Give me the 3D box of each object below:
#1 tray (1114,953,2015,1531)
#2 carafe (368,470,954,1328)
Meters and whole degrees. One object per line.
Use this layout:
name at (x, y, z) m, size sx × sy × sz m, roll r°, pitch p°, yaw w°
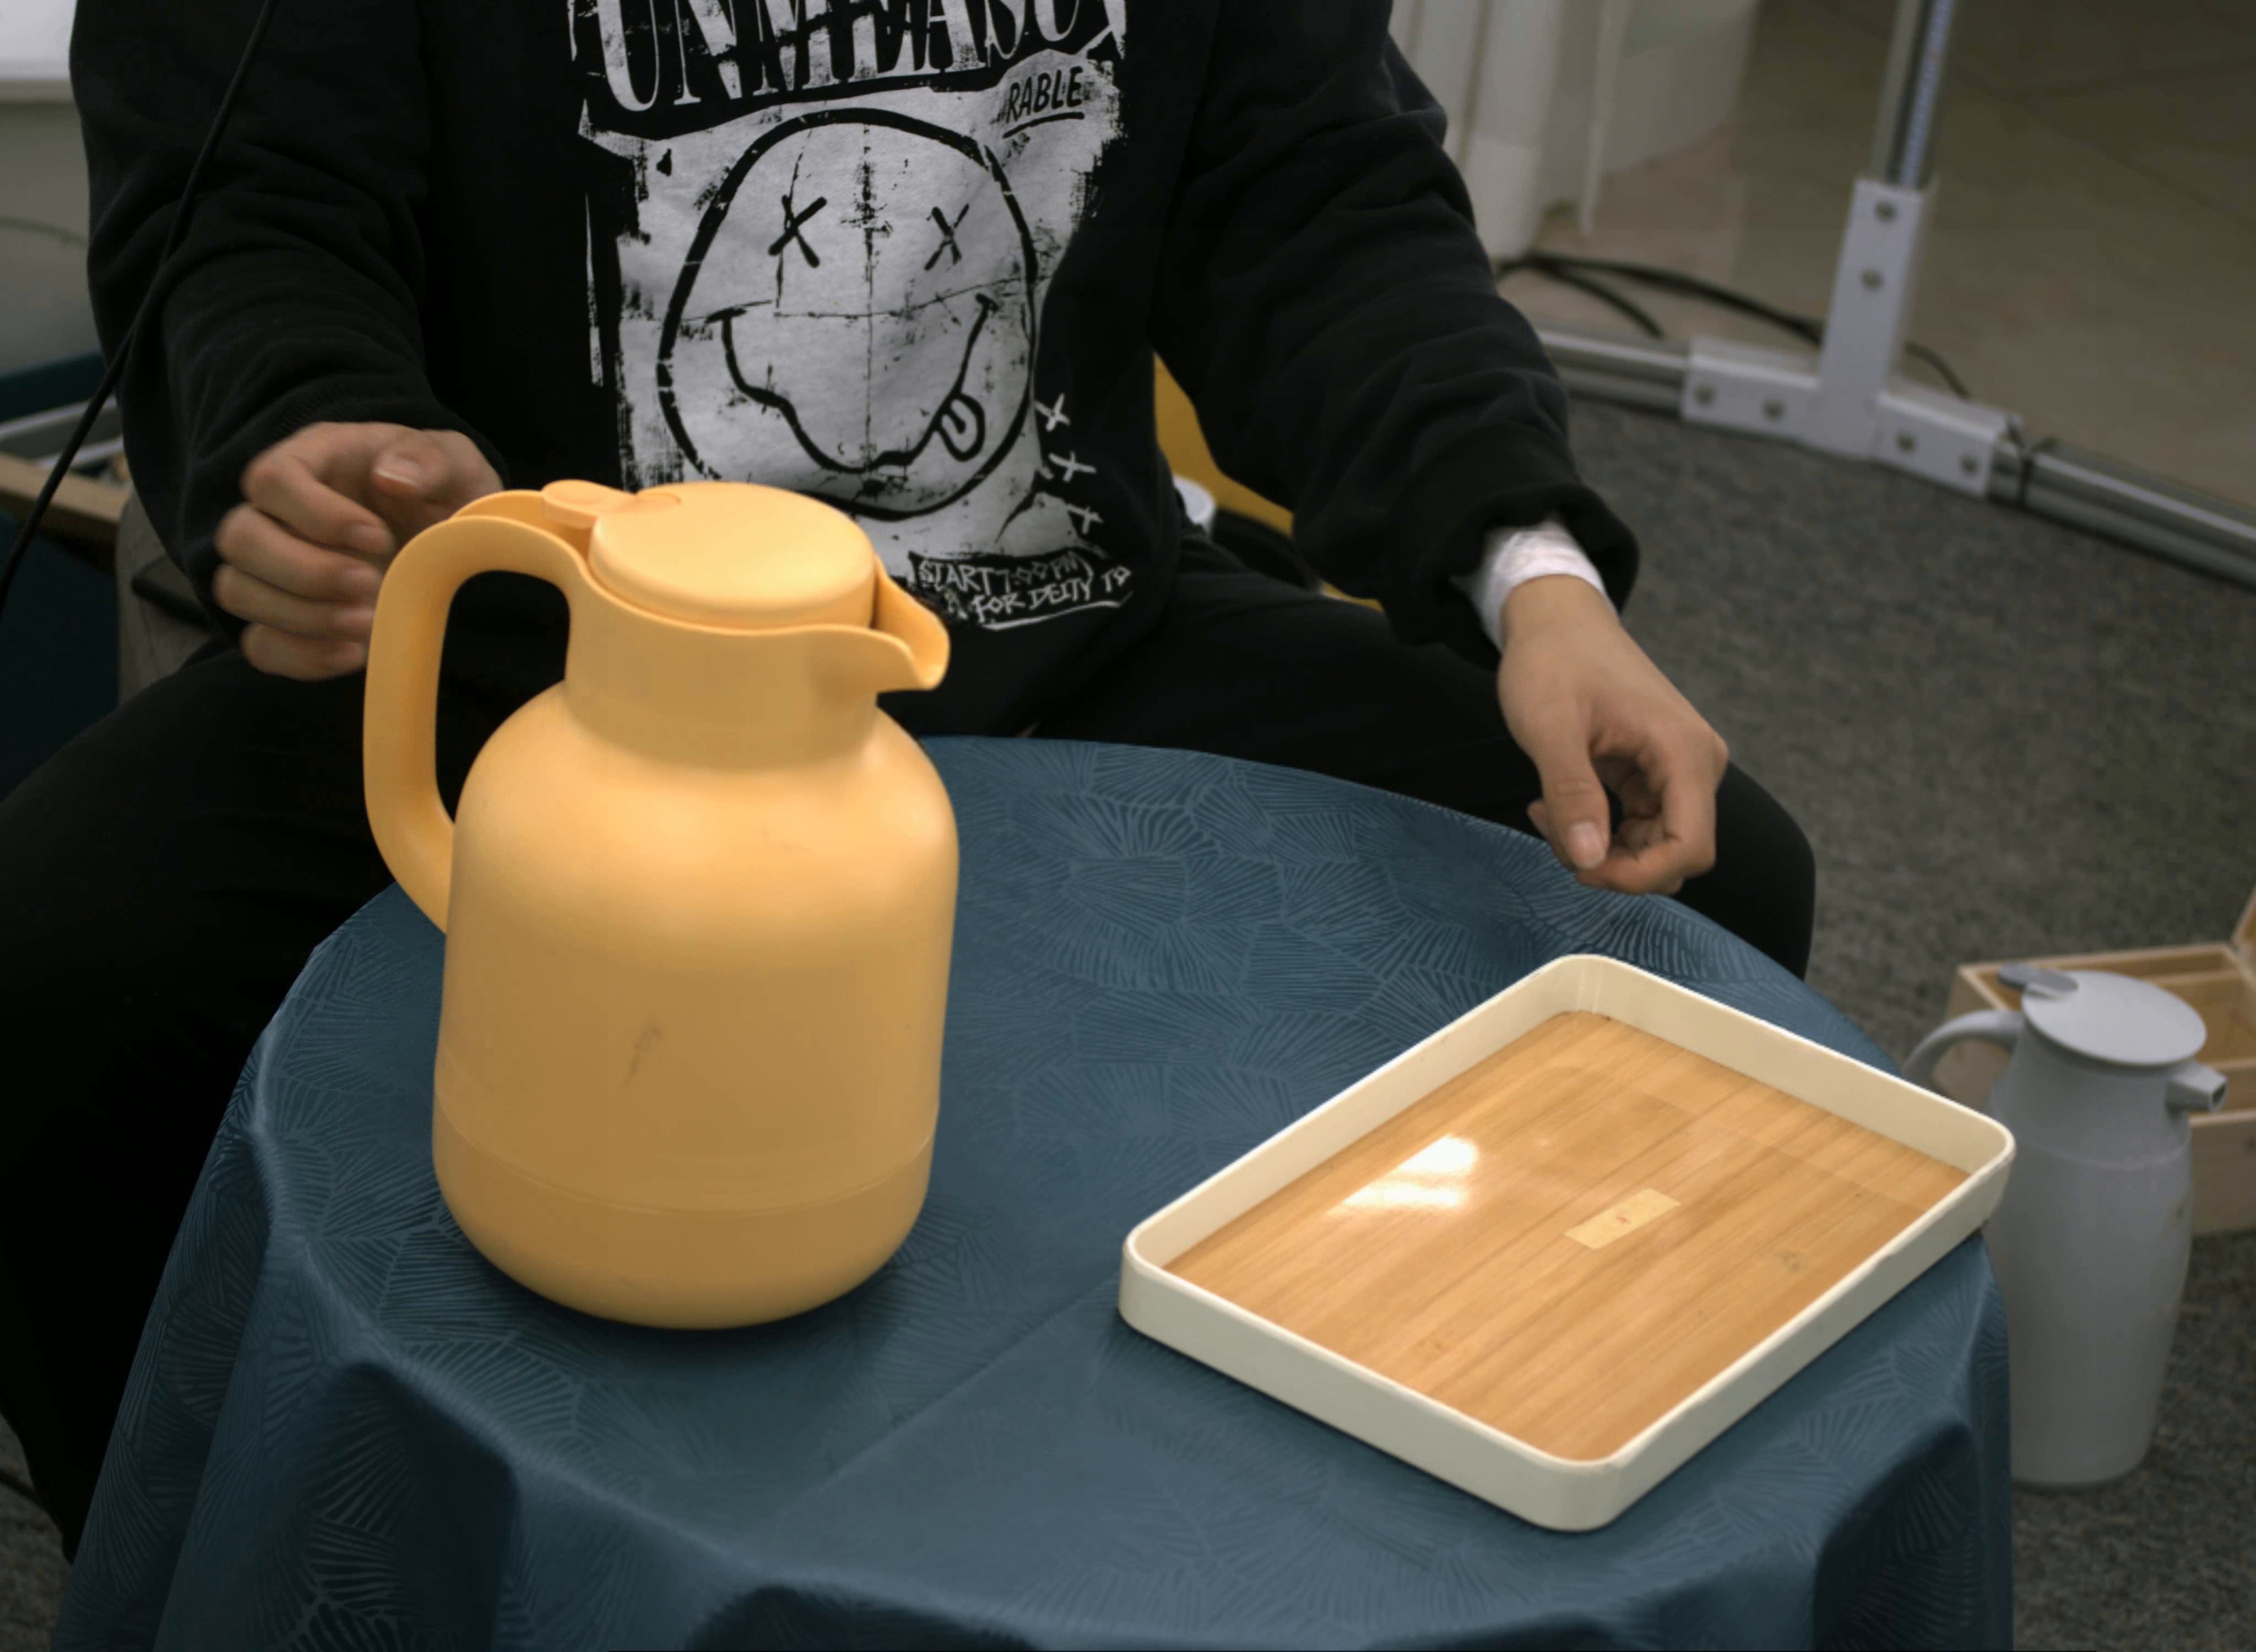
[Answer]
tray at (0.151, 0.133, 1.791) m, size 0.193 × 0.027 × 0.299 m, roll 23°, pitch 31°, yaw 29°
carafe at (-0.153, 0.013, 1.701) m, size 0.203 × 0.260 × 0.163 m, roll 20°, pitch 27°, yaw 22°
